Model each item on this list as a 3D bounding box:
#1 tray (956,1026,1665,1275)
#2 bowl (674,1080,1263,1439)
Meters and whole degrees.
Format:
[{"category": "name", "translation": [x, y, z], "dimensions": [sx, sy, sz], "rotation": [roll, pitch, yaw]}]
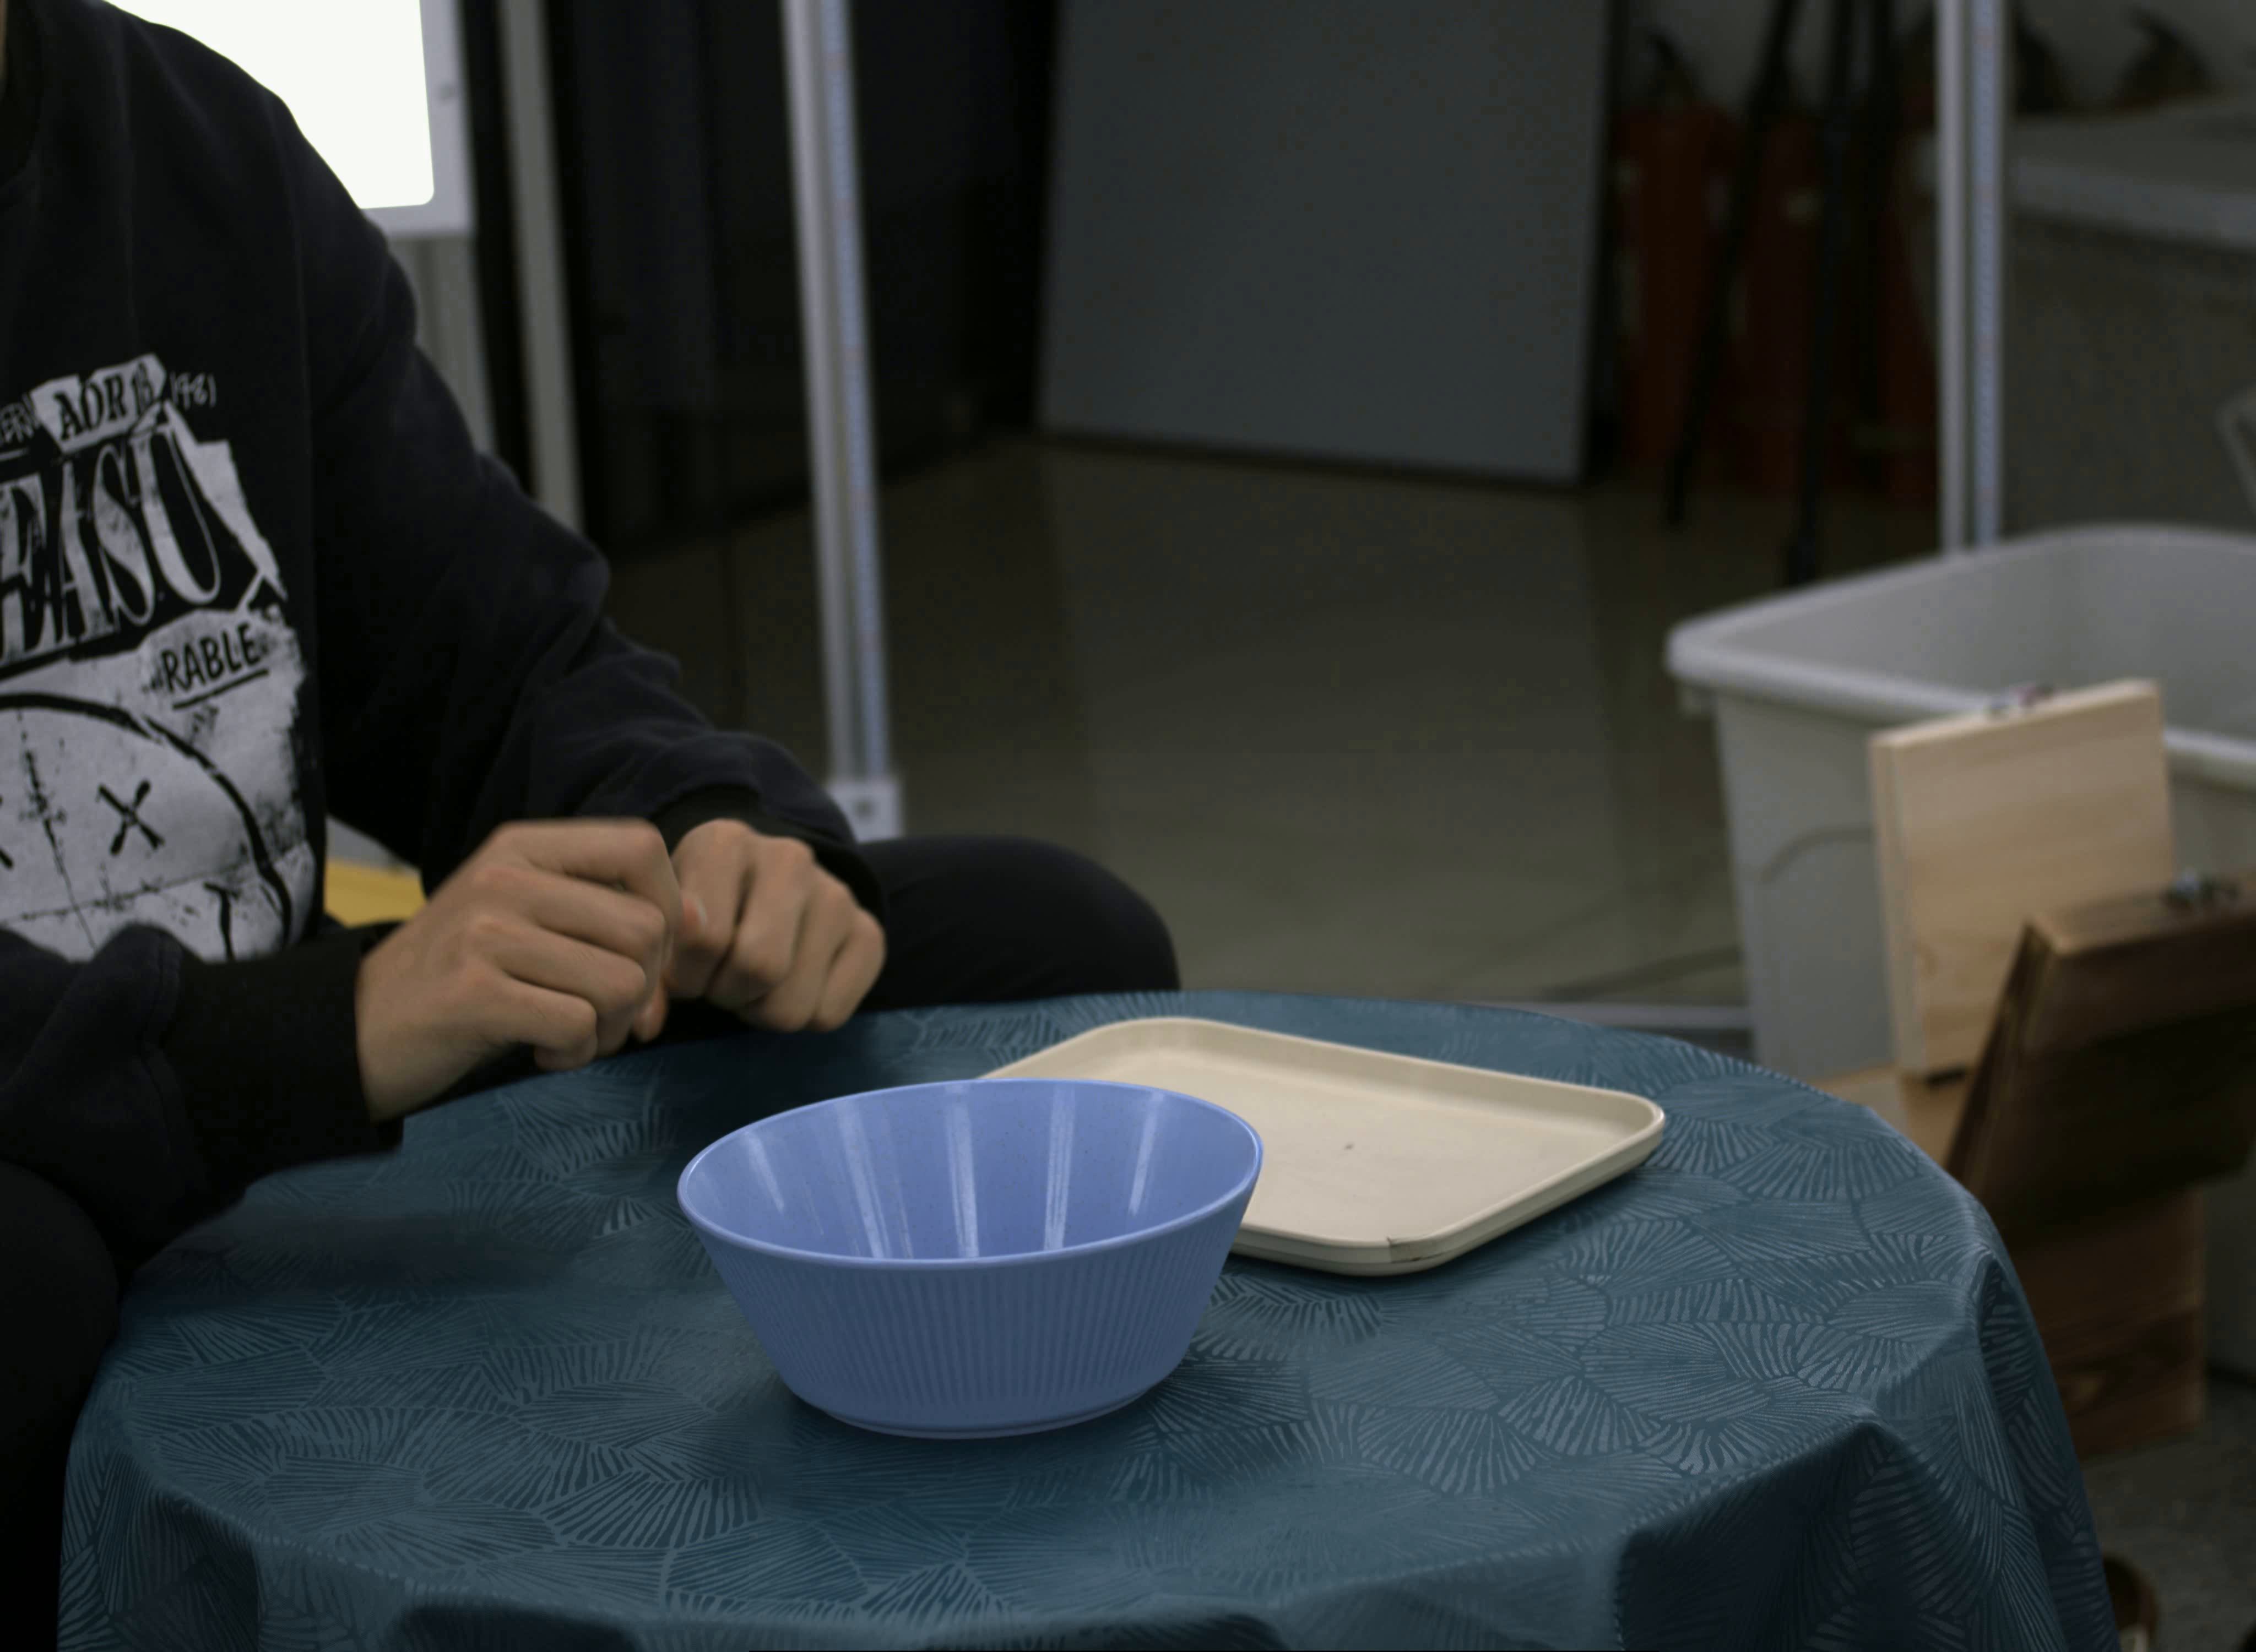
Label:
[{"category": "tray", "translation": [0.045, 0.106, 1.781], "dimensions": [0.241, 0.017, 0.168], "rotation": [8, 17, 40]}, {"category": "bowl", "translation": [-0.045, 0.130, 1.598], "dimensions": [0.174, 0.071, 0.176], "rotation": [-3, 14, 0]}]
